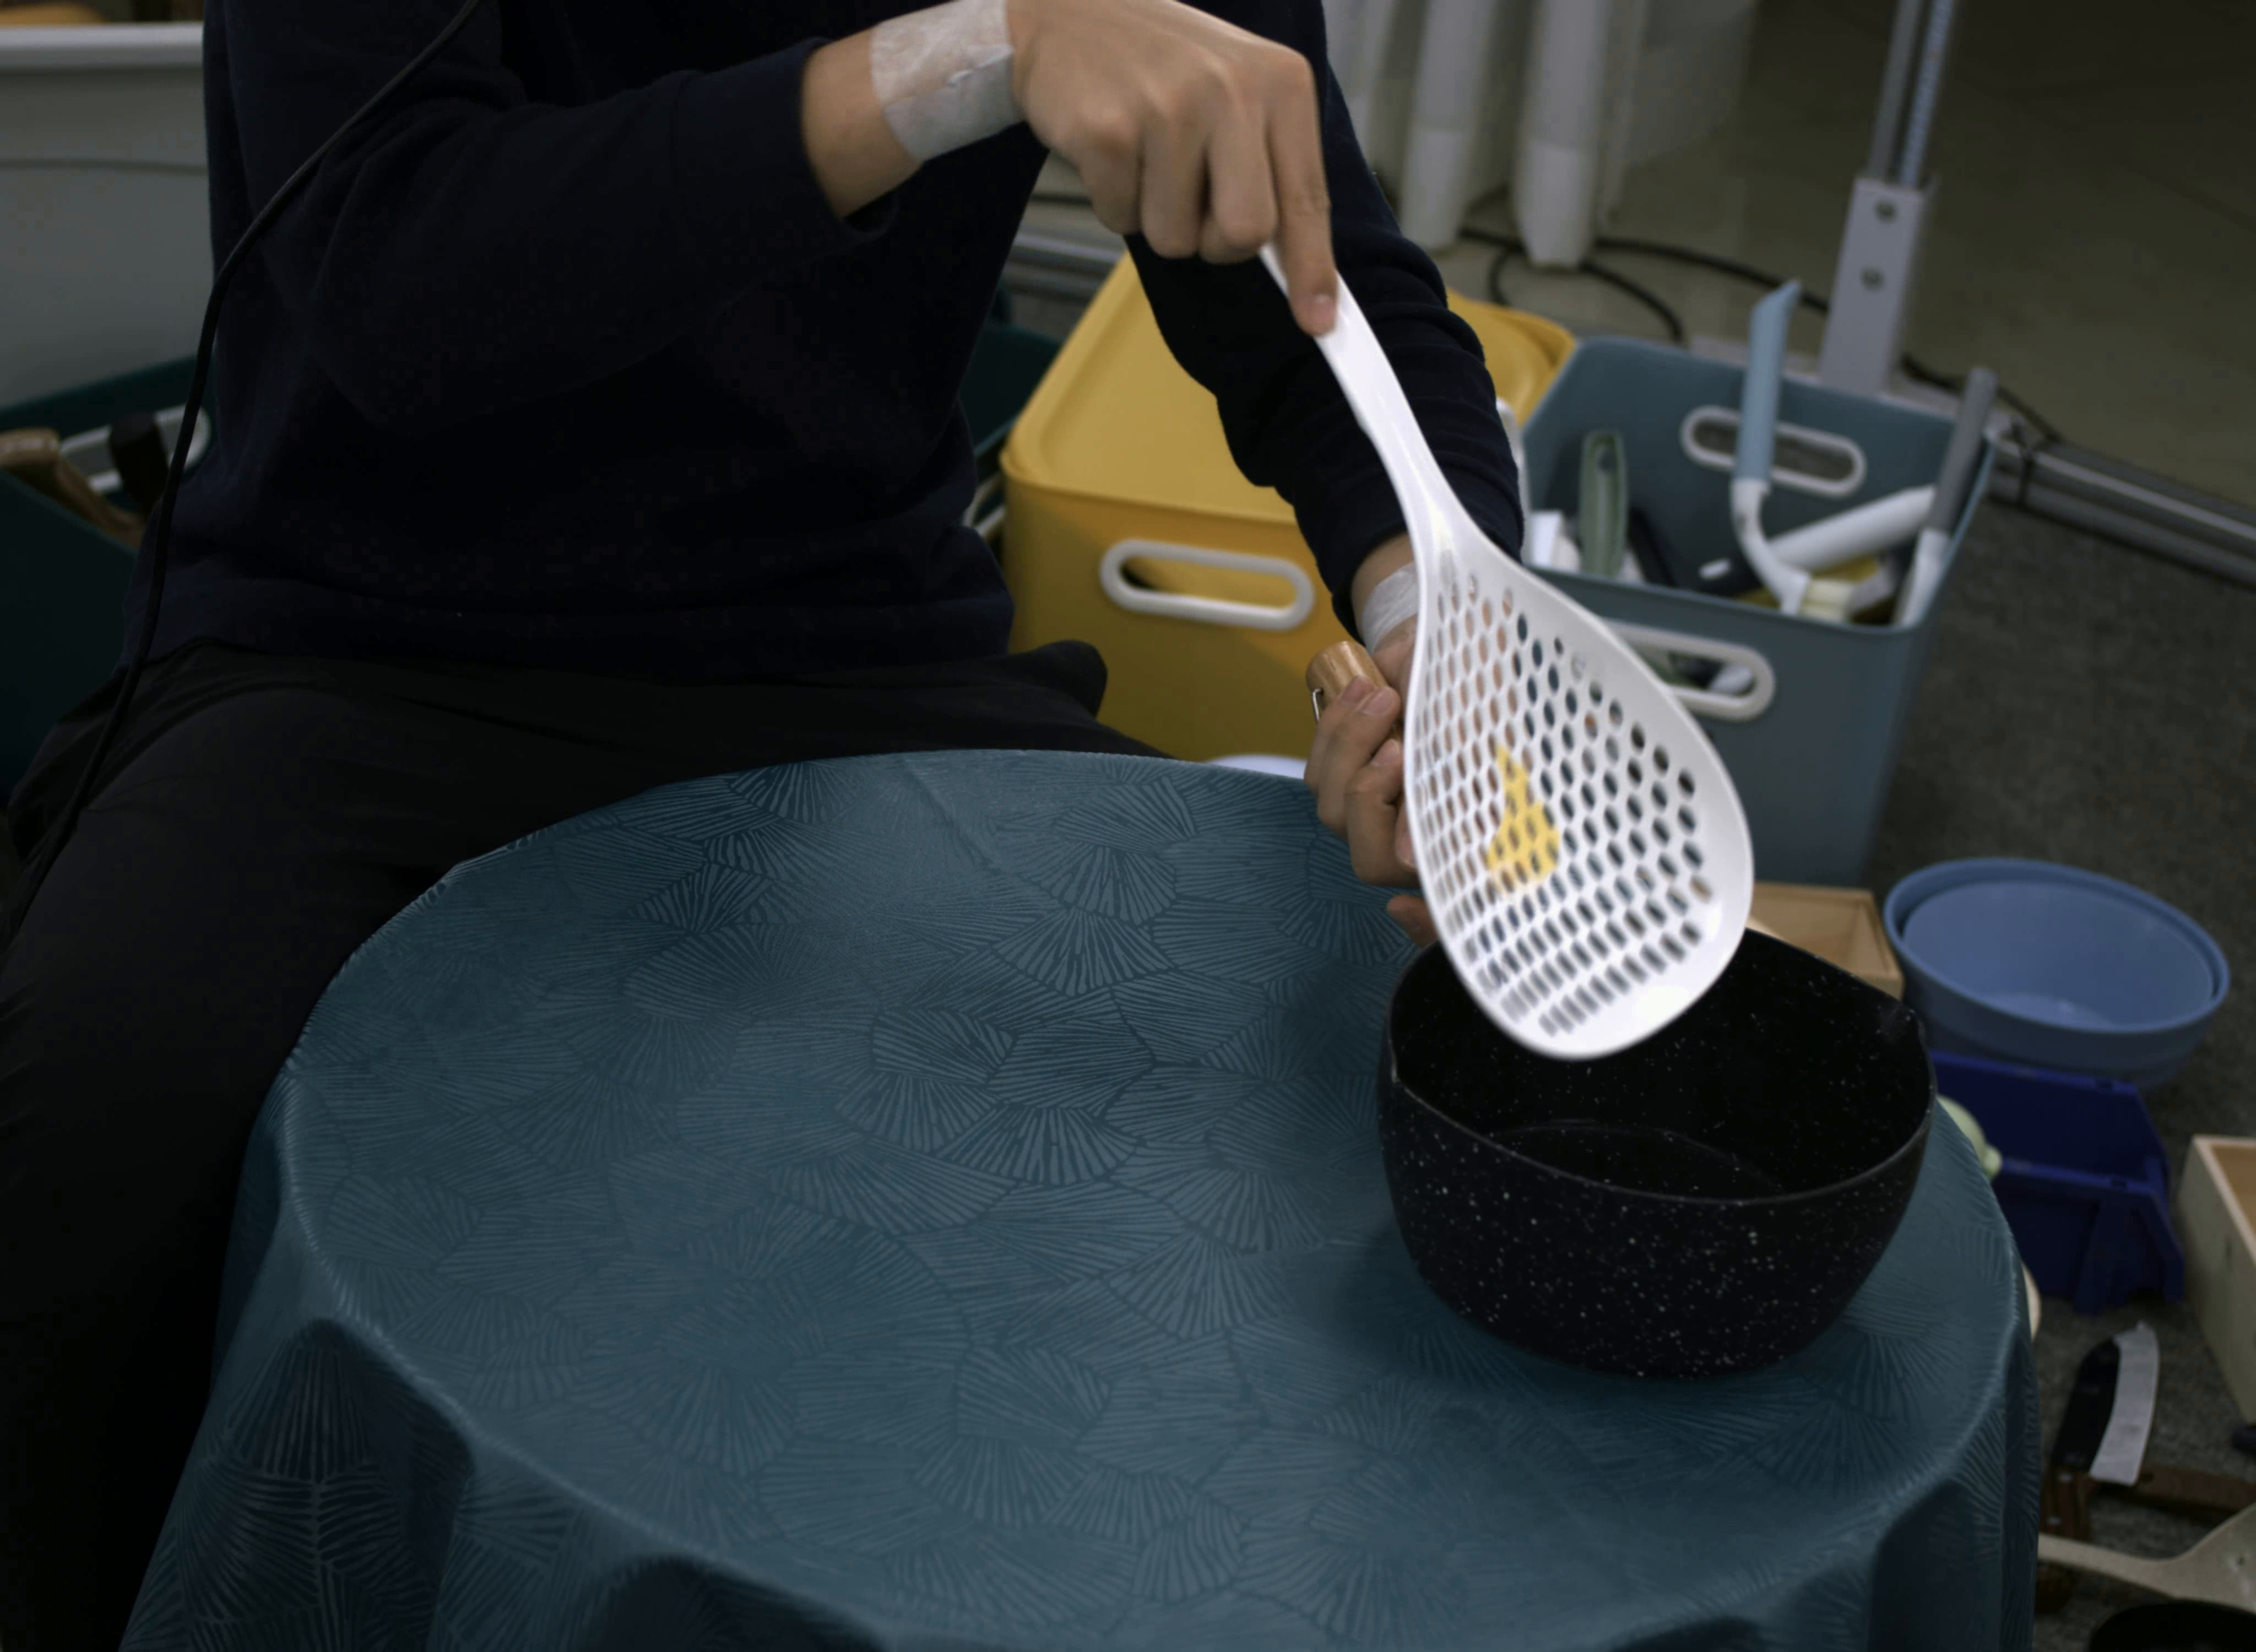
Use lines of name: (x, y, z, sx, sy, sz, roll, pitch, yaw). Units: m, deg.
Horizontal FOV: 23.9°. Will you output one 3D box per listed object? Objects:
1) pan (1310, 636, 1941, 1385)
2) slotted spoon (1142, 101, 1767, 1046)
pan: (0.139, 0.060, 1.830, 0.206, 0.108, 0.346, -9, 34, -24)
slotted spoon: (0.100, -0.090, 1.776, 0.136, 0.347, 0.050, -33, 14, -28)
